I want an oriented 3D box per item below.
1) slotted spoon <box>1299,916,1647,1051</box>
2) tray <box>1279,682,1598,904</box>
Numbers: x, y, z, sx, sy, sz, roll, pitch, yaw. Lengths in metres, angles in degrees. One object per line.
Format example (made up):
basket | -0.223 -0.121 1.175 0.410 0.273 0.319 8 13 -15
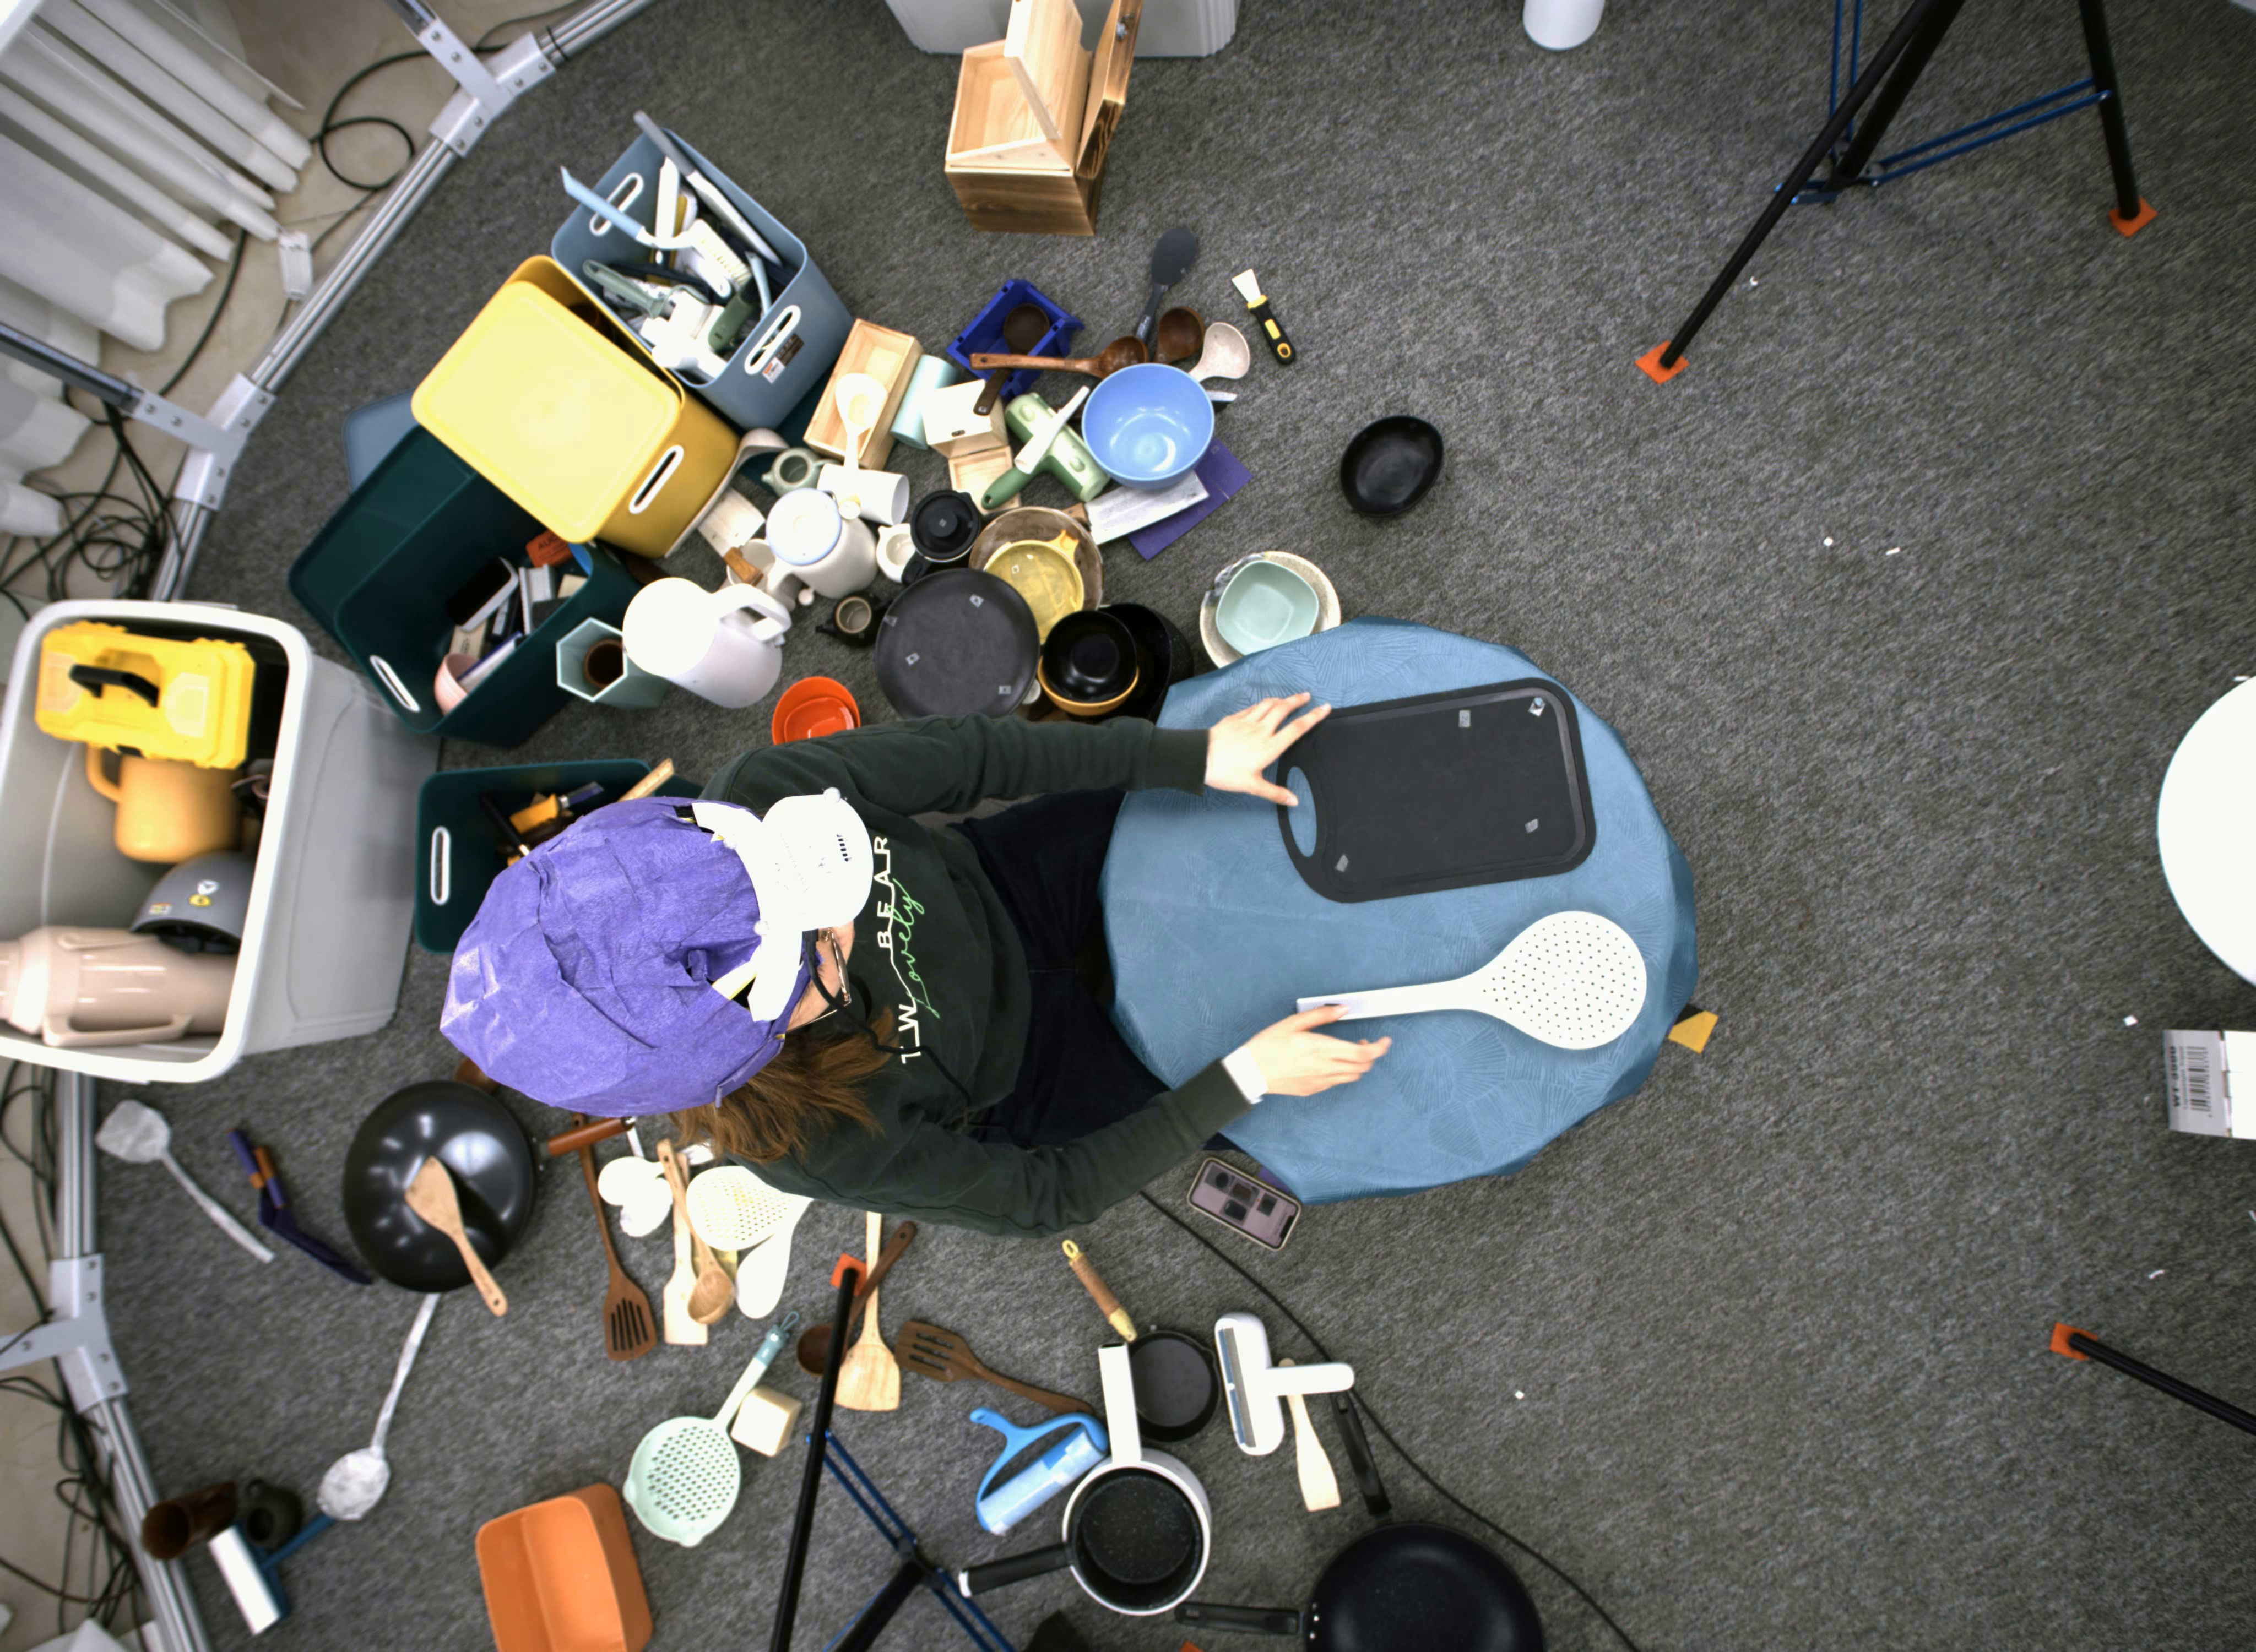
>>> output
slotted spoon | 0.350 0.172 1.420 0.351 0.046 0.135 -8 82 11
tray | 0.323 -0.035 1.459 0.327 0.010 0.210 -8 84 10
